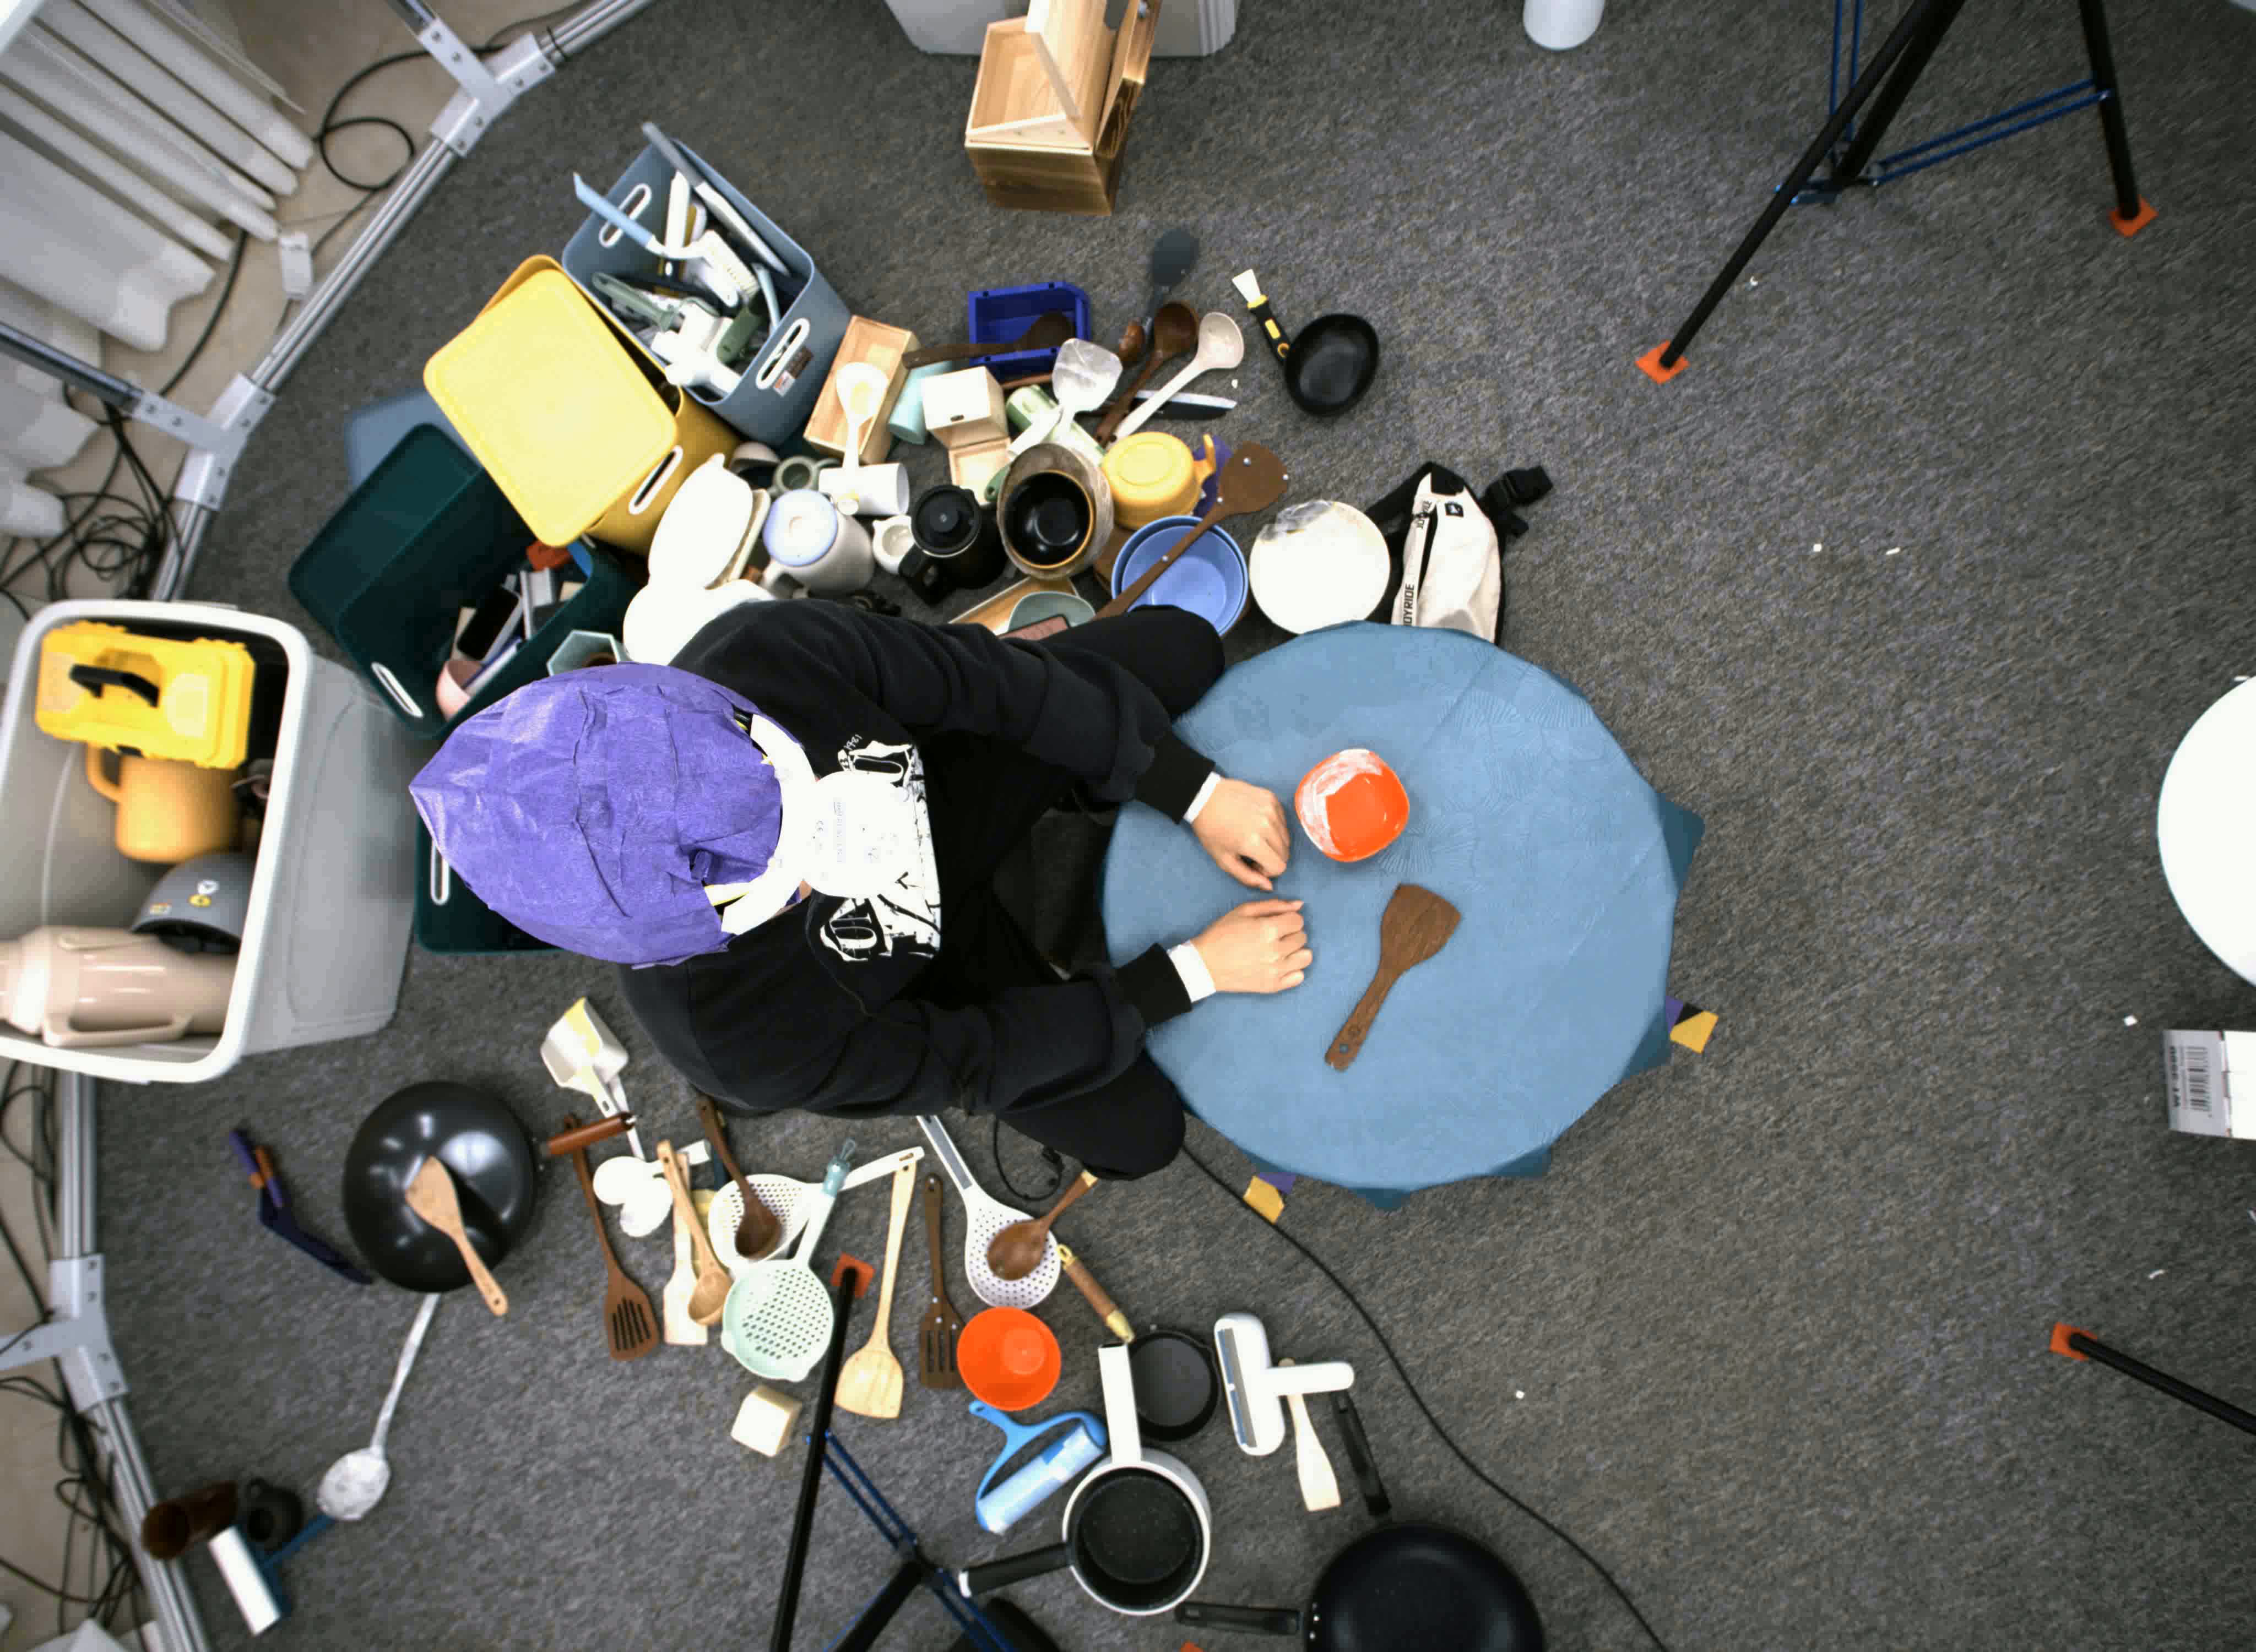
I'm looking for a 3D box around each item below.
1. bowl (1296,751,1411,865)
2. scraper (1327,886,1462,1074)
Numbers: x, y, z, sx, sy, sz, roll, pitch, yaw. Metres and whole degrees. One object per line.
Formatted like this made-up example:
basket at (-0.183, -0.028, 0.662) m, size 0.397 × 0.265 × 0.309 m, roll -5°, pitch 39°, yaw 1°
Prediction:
bowl at (0.237, -0.018, 1.452) m, size 0.119 × 0.051 × 0.118 m, roll -1°, pitch 87°, yaw 8°
scraper at (0.271, 0.165, 1.454) m, size 0.075 × 0.011 × 0.211 m, roll 30°, pitch 93°, yaw 12°
